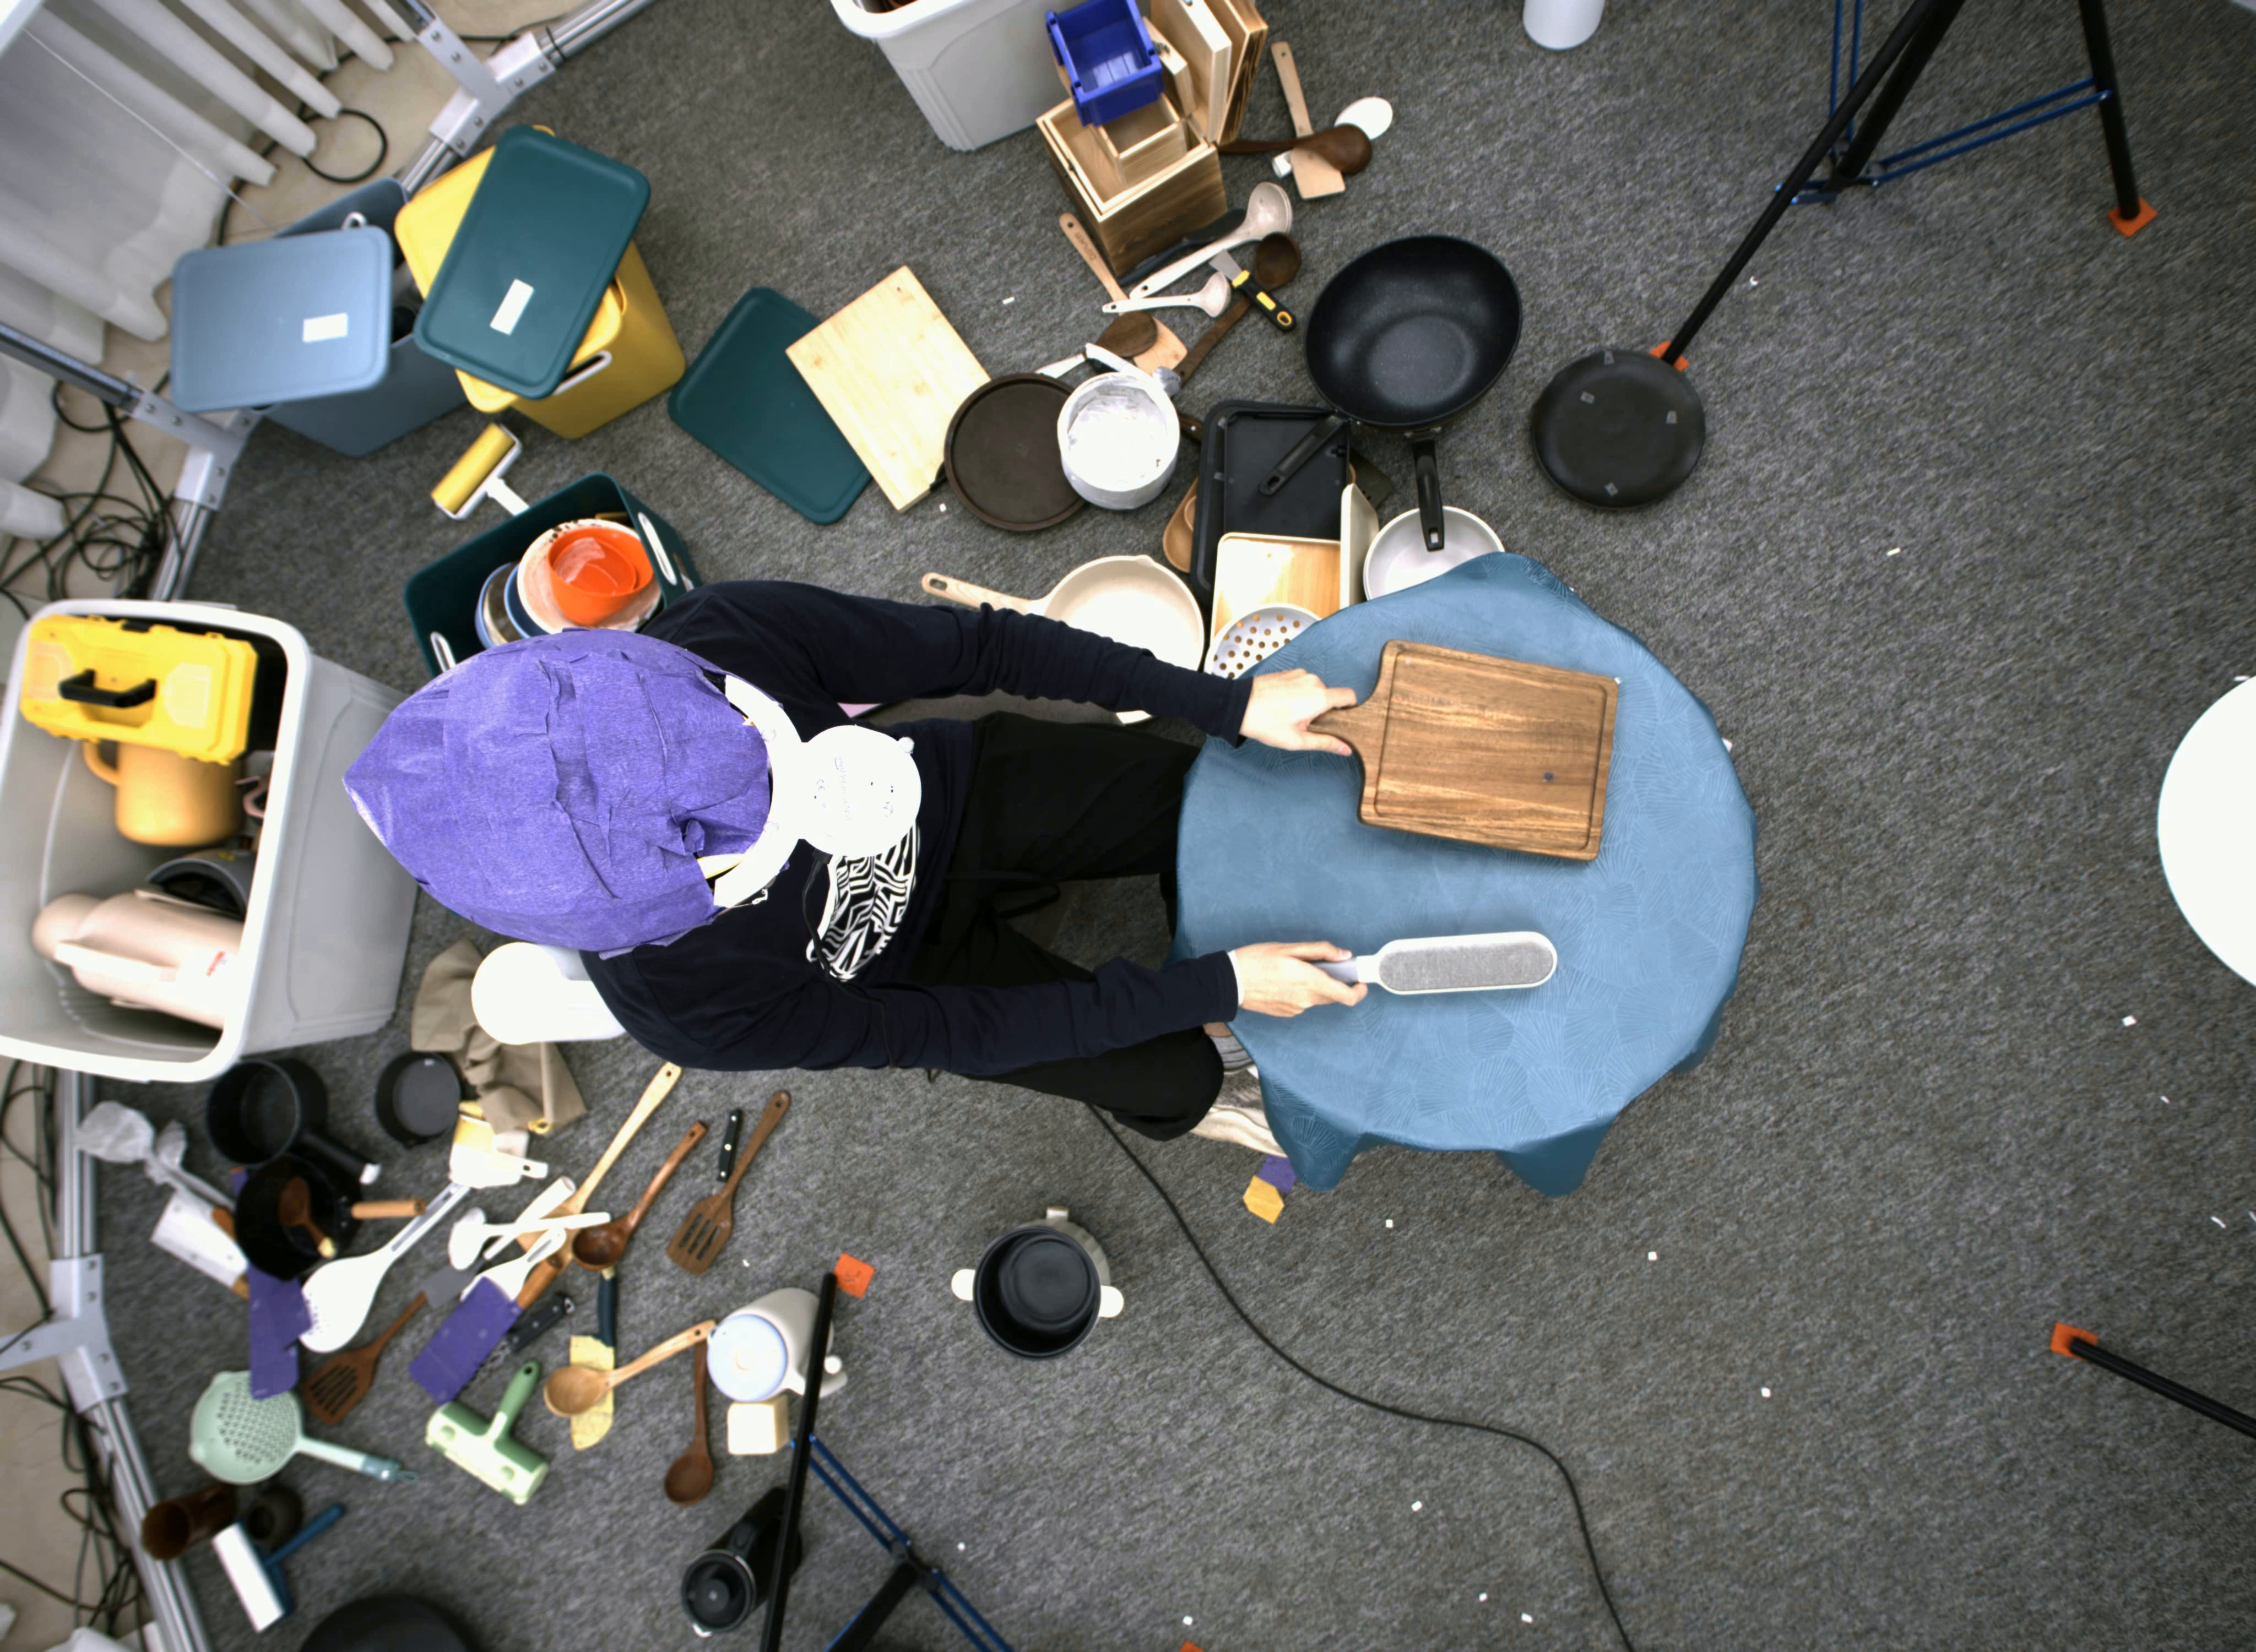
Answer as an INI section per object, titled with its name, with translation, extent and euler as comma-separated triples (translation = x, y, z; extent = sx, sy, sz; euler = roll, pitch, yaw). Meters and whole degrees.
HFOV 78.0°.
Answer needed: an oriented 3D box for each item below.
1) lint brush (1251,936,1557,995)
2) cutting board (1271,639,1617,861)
[lint brush]
translation = 0.279, 0.143, 1.408
extent = 0.310, 0.020, 0.061
euler = -4, 114, 12
[cutting board]
translation = 0.322, -0.088, 1.412
extent = 0.352, 0.023, 0.200
euler = 9, 87, 0
